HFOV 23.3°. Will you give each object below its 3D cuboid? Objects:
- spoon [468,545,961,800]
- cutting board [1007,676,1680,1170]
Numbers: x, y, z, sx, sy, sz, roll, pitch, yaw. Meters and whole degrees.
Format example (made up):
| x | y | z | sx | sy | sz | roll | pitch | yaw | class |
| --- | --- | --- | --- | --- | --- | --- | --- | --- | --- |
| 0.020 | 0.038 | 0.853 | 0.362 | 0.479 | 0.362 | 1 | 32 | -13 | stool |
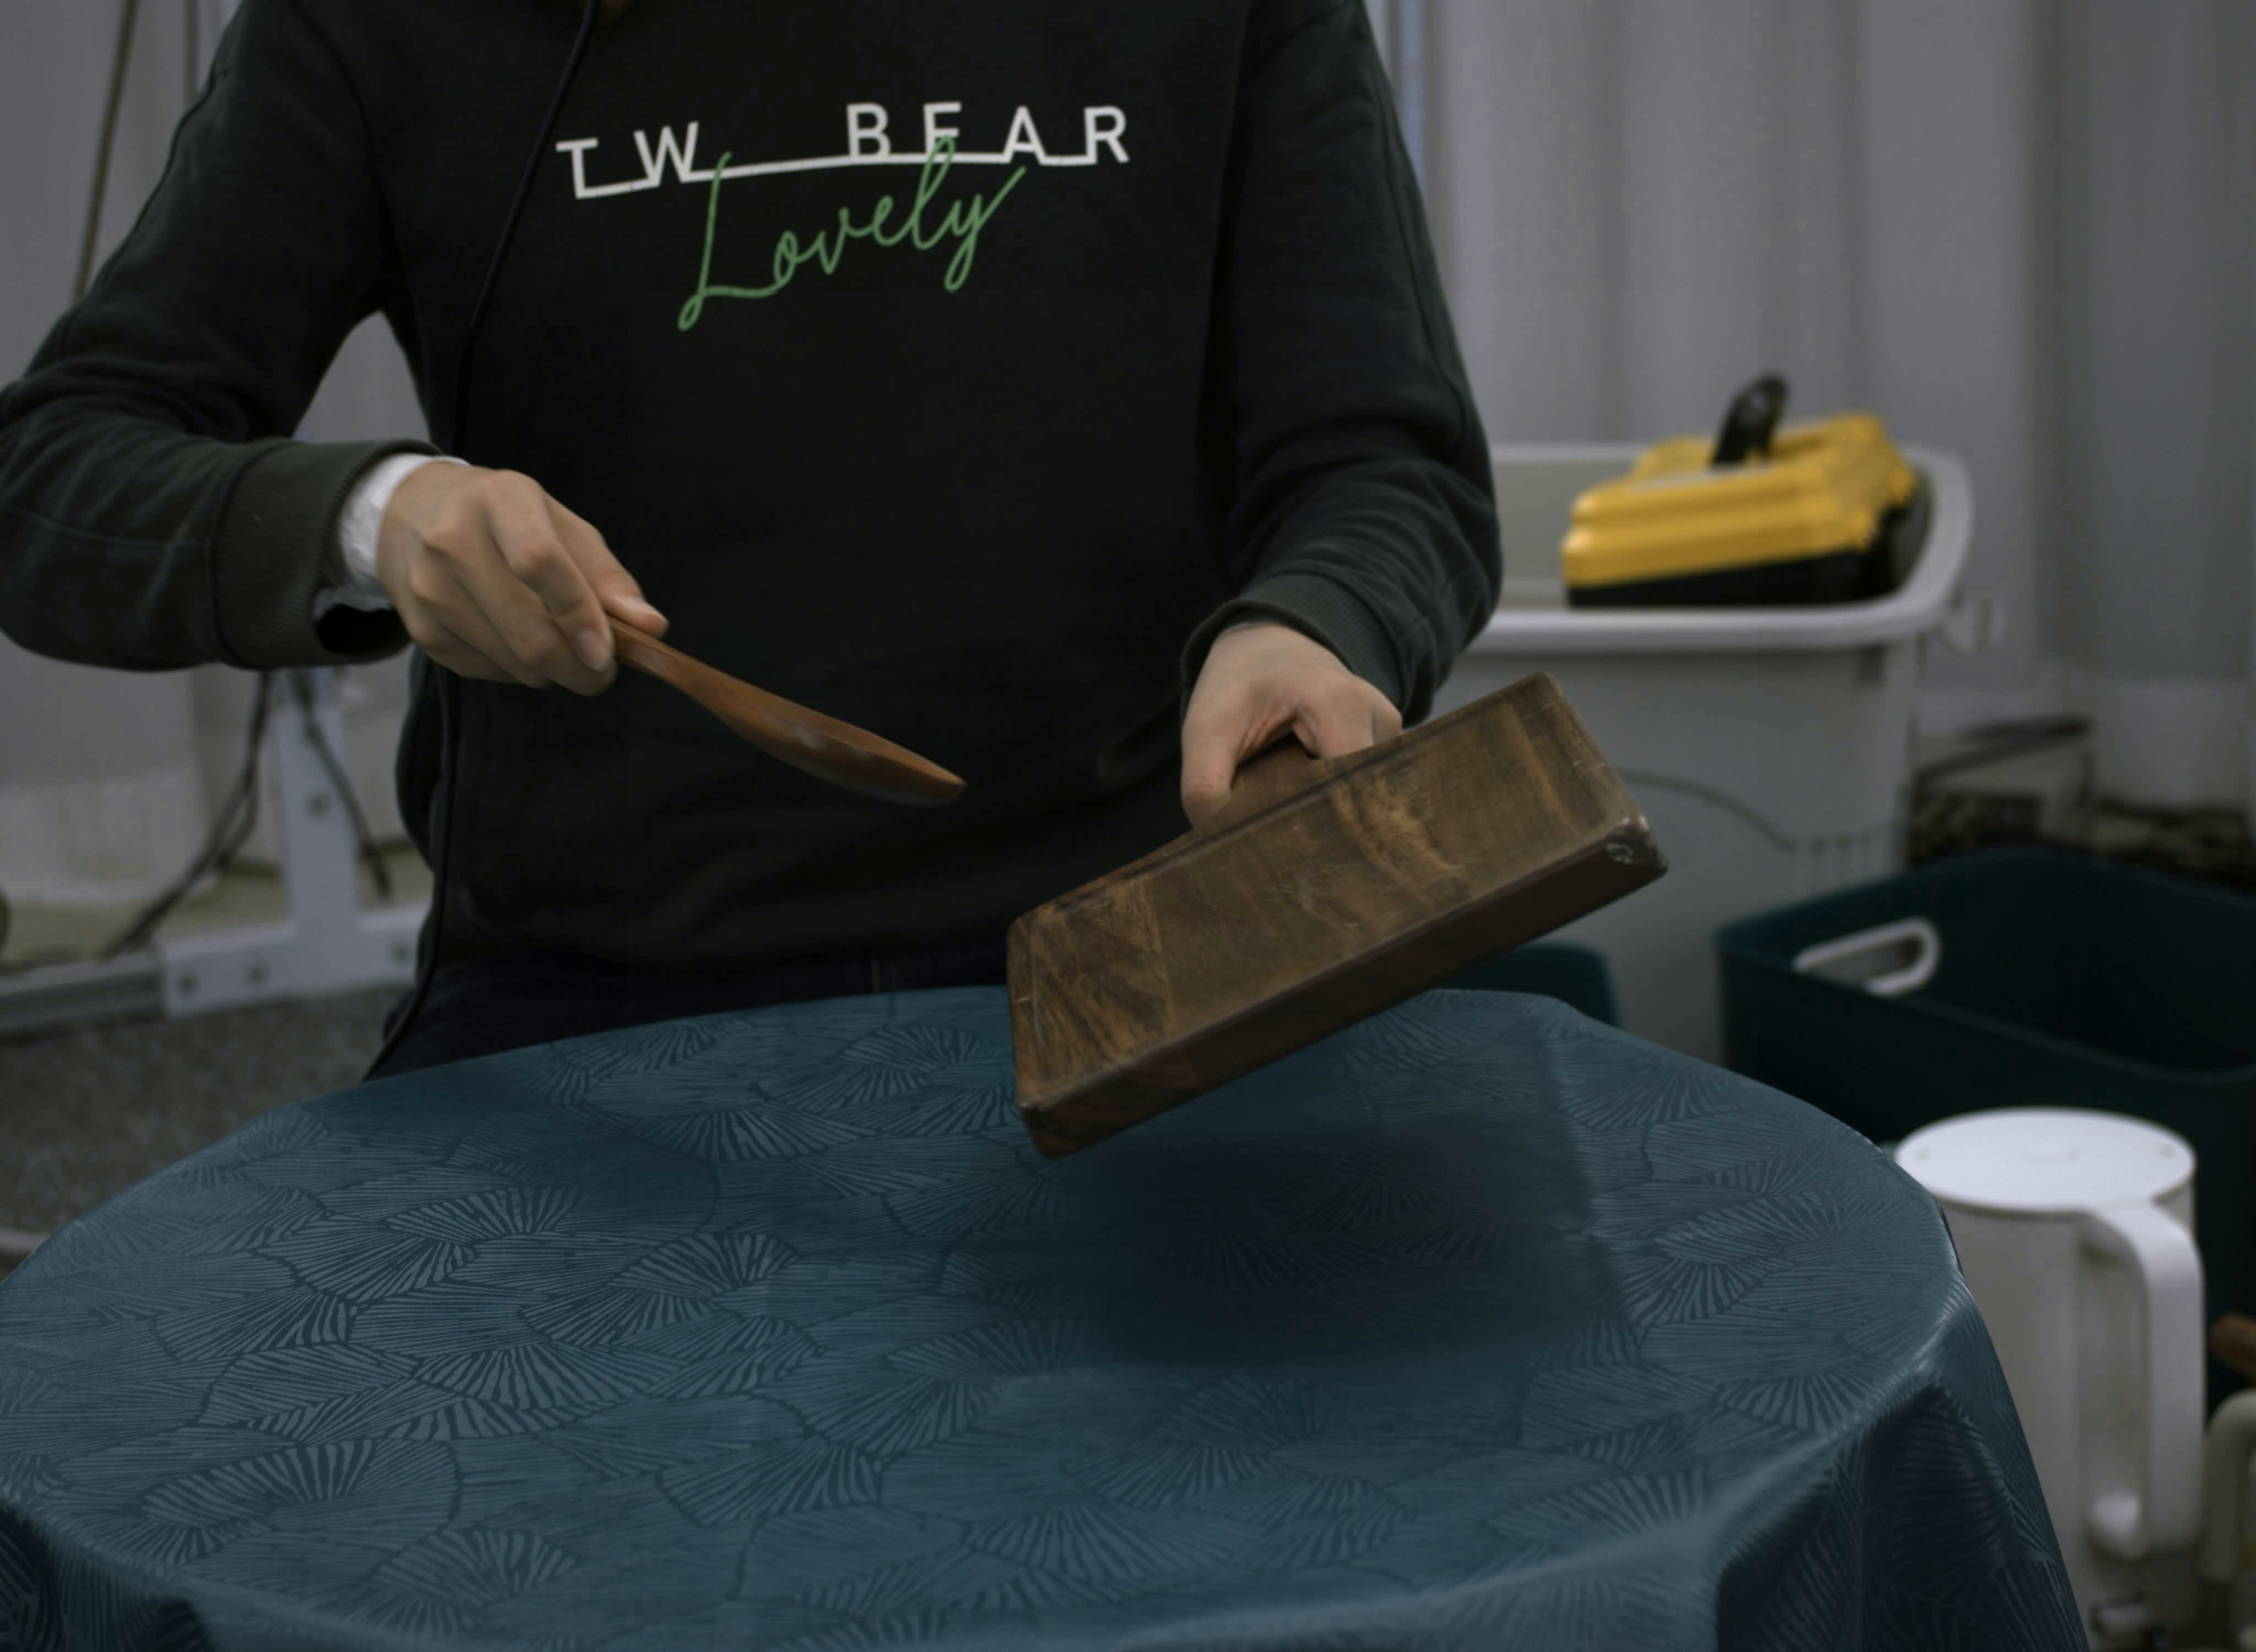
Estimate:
| x | y | z | sx | sy | sz | roll | pitch | yaw | class |
| --- | --- | --- | --- | --- | --- | --- | --- | --- | --- |
| -0.137 | -0.047 | 1.733 | 0.218 | 0.017 | 0.075 | 27 | 10 | 40 | spoon |
| 0.056 | 0.015 | 1.695 | 0.200 | 0.023 | 0.354 | -26 | 11 | 3 | cutting board |
